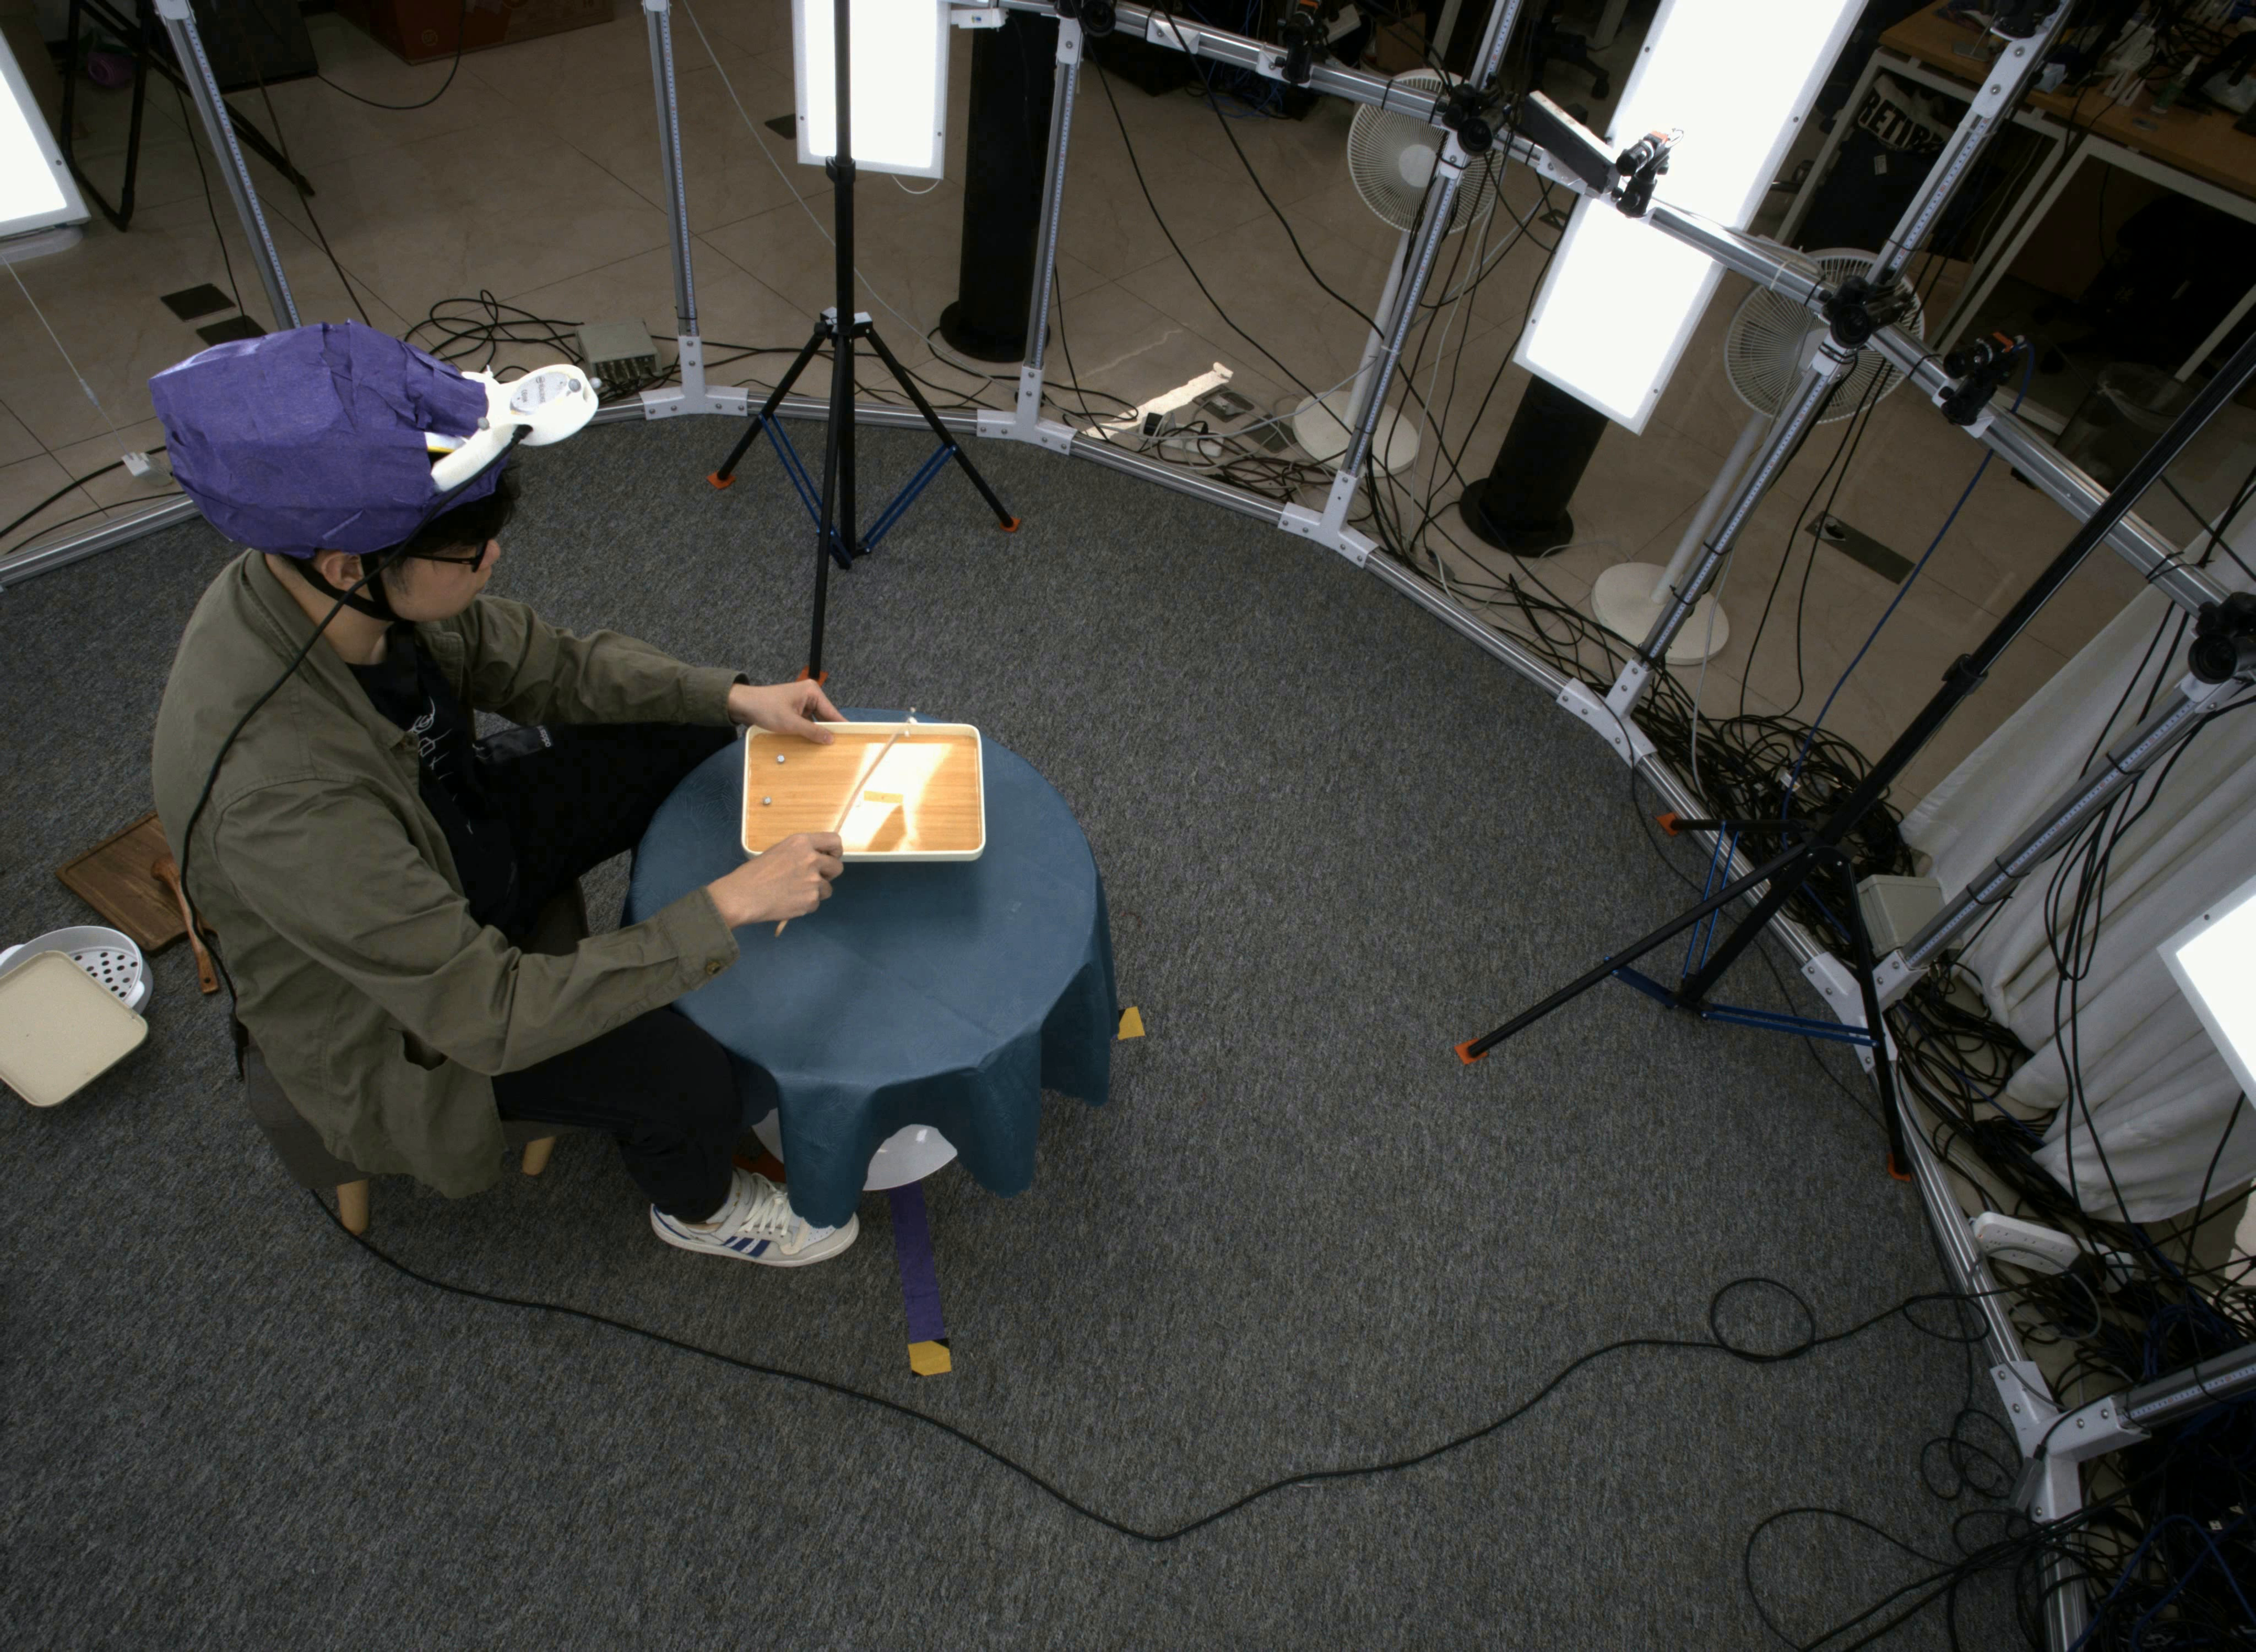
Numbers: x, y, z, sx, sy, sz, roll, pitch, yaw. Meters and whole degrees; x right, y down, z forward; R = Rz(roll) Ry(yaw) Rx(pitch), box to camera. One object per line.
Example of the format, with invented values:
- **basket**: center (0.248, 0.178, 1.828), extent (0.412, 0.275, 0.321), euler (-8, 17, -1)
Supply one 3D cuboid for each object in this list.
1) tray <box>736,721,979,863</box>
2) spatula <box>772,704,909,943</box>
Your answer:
- **tray**: center (-0.342, -0.046, 1.655), extent (0.300, 0.028, 0.189), euler (0, 64, -12)
- **spatula**: center (-0.326, -0.009, 1.485), extent (0.016, 0.079, 0.326), euler (28, 64, -10)
